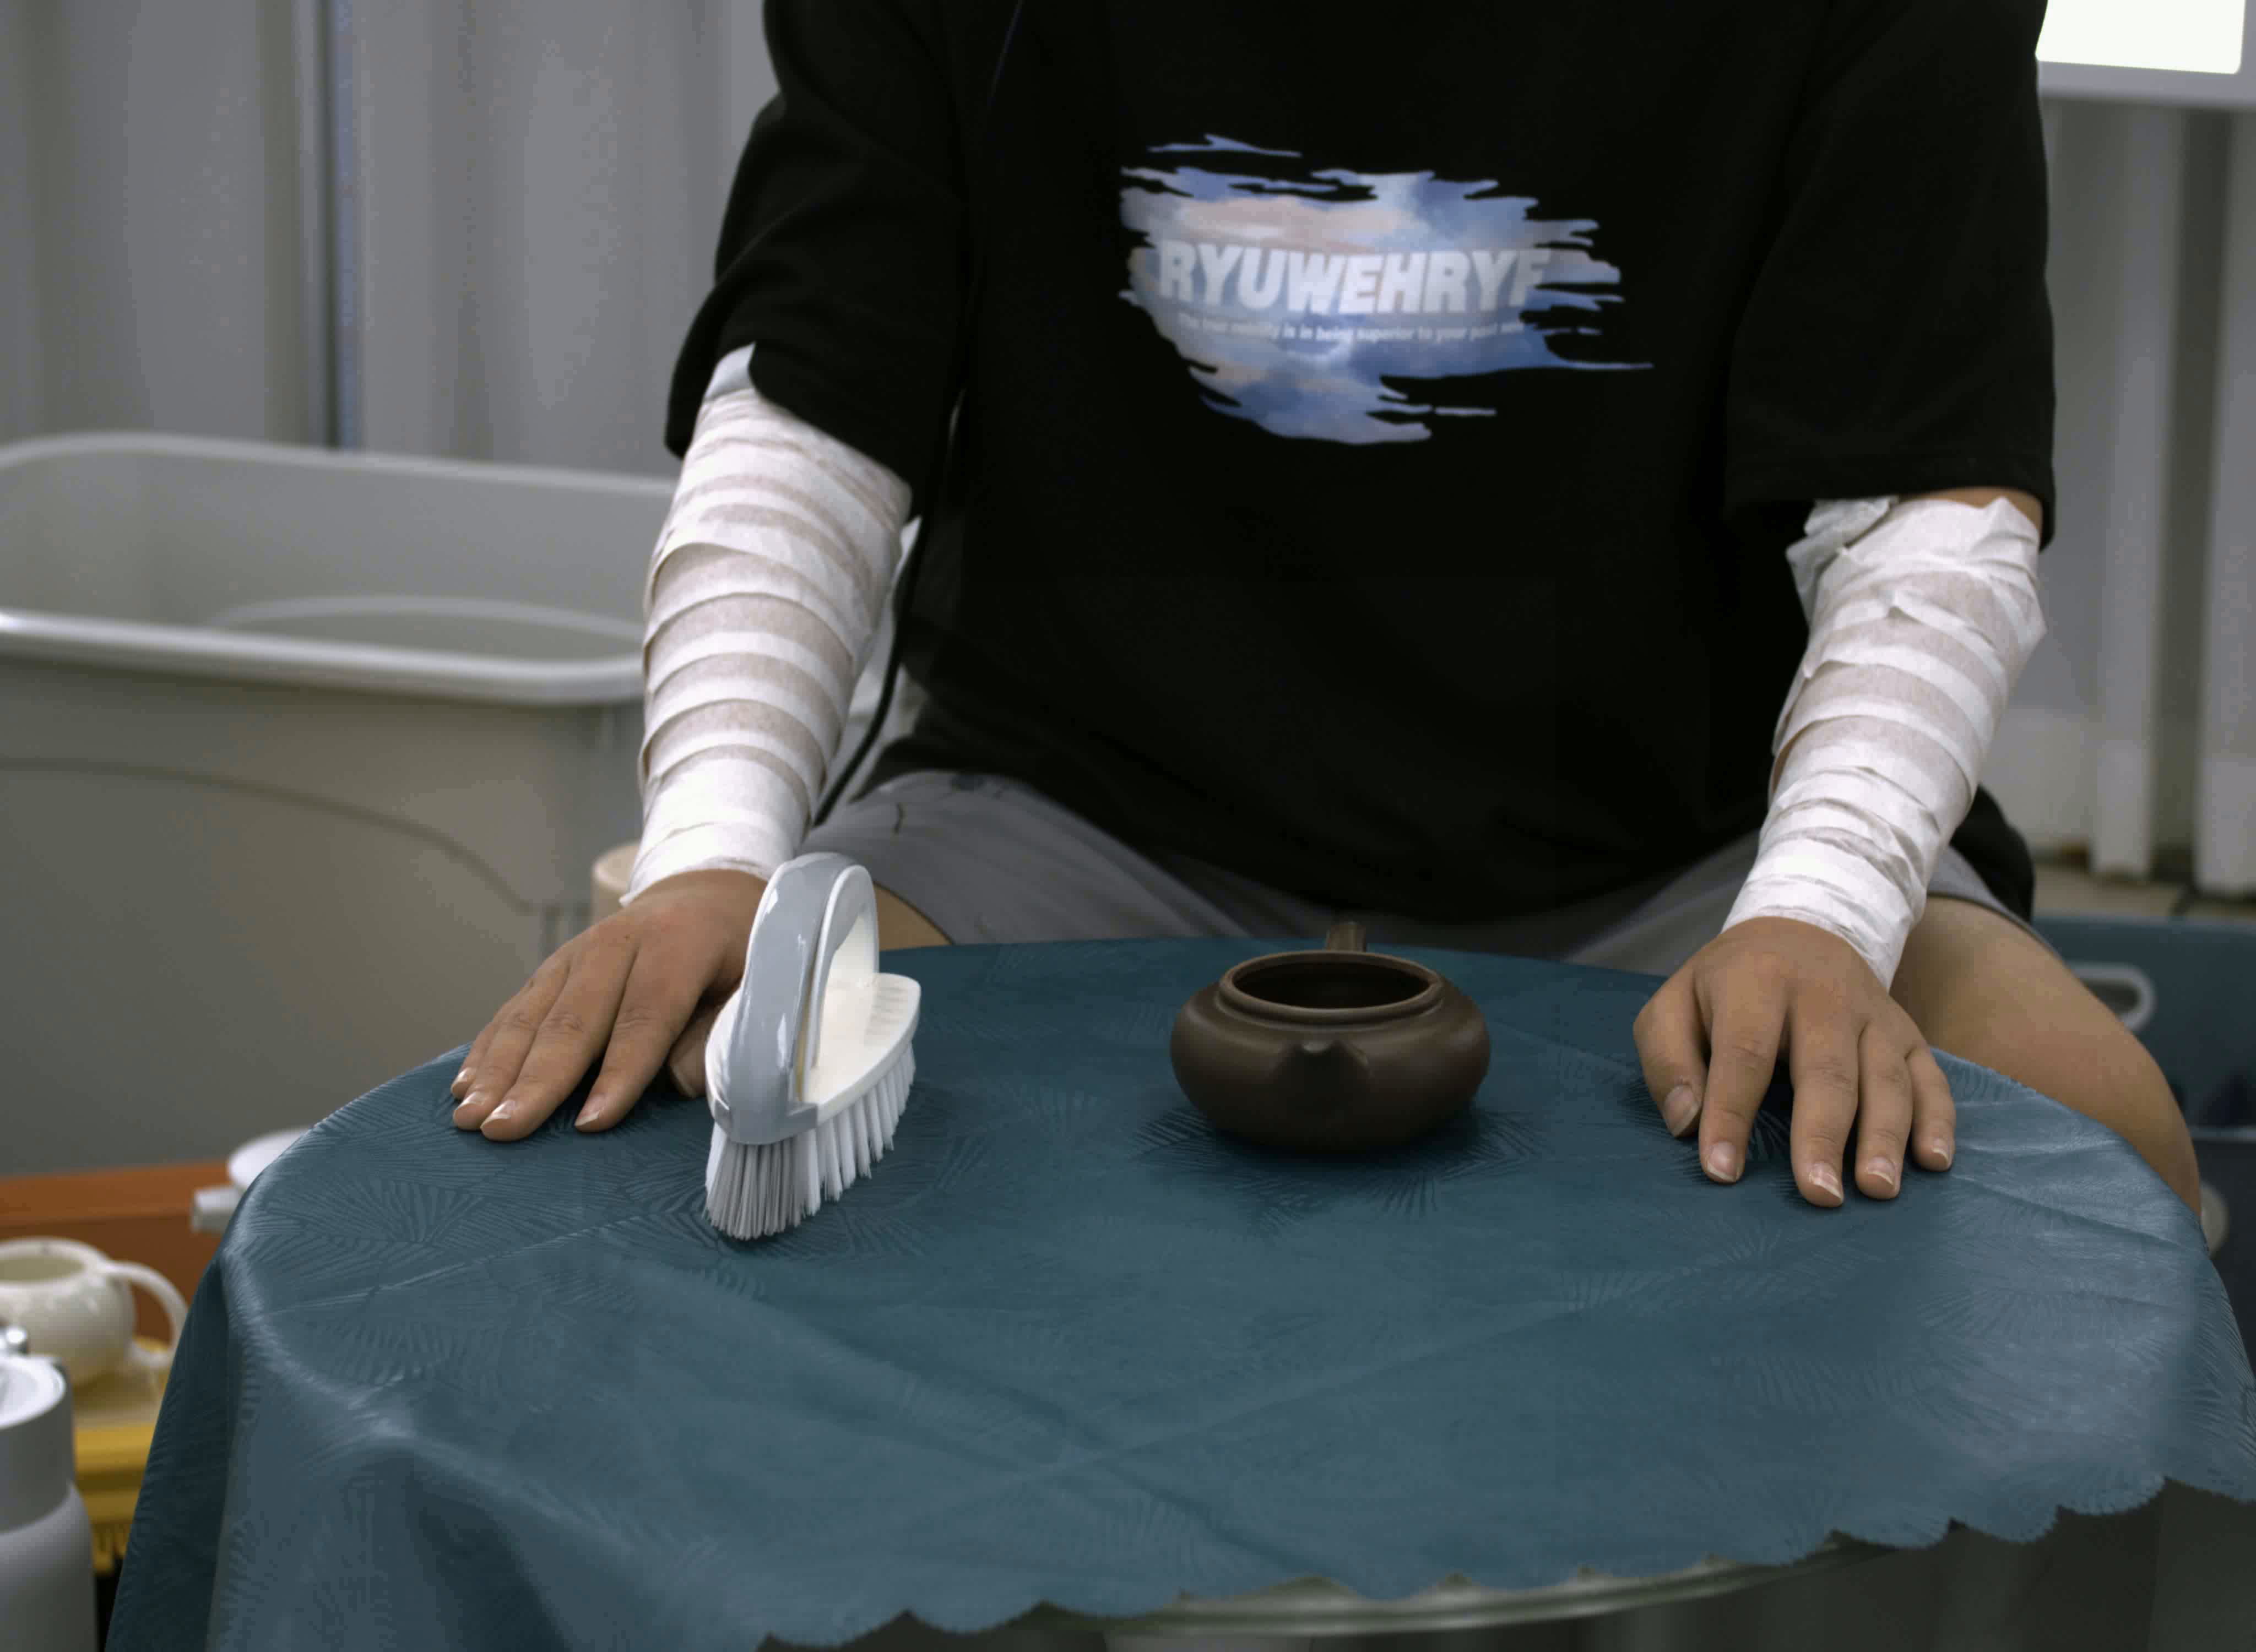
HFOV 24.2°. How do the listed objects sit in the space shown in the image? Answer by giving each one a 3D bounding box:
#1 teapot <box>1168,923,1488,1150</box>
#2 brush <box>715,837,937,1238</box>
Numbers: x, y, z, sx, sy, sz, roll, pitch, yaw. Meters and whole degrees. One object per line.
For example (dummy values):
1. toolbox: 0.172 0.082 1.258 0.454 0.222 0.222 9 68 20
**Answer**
1. teapot: 0.064 0.068 1.685 0.102 0.054 0.152 2 15 -1
2. brush: -0.100 0.060 1.638 0.061 0.095 0.175 -1 17 8
